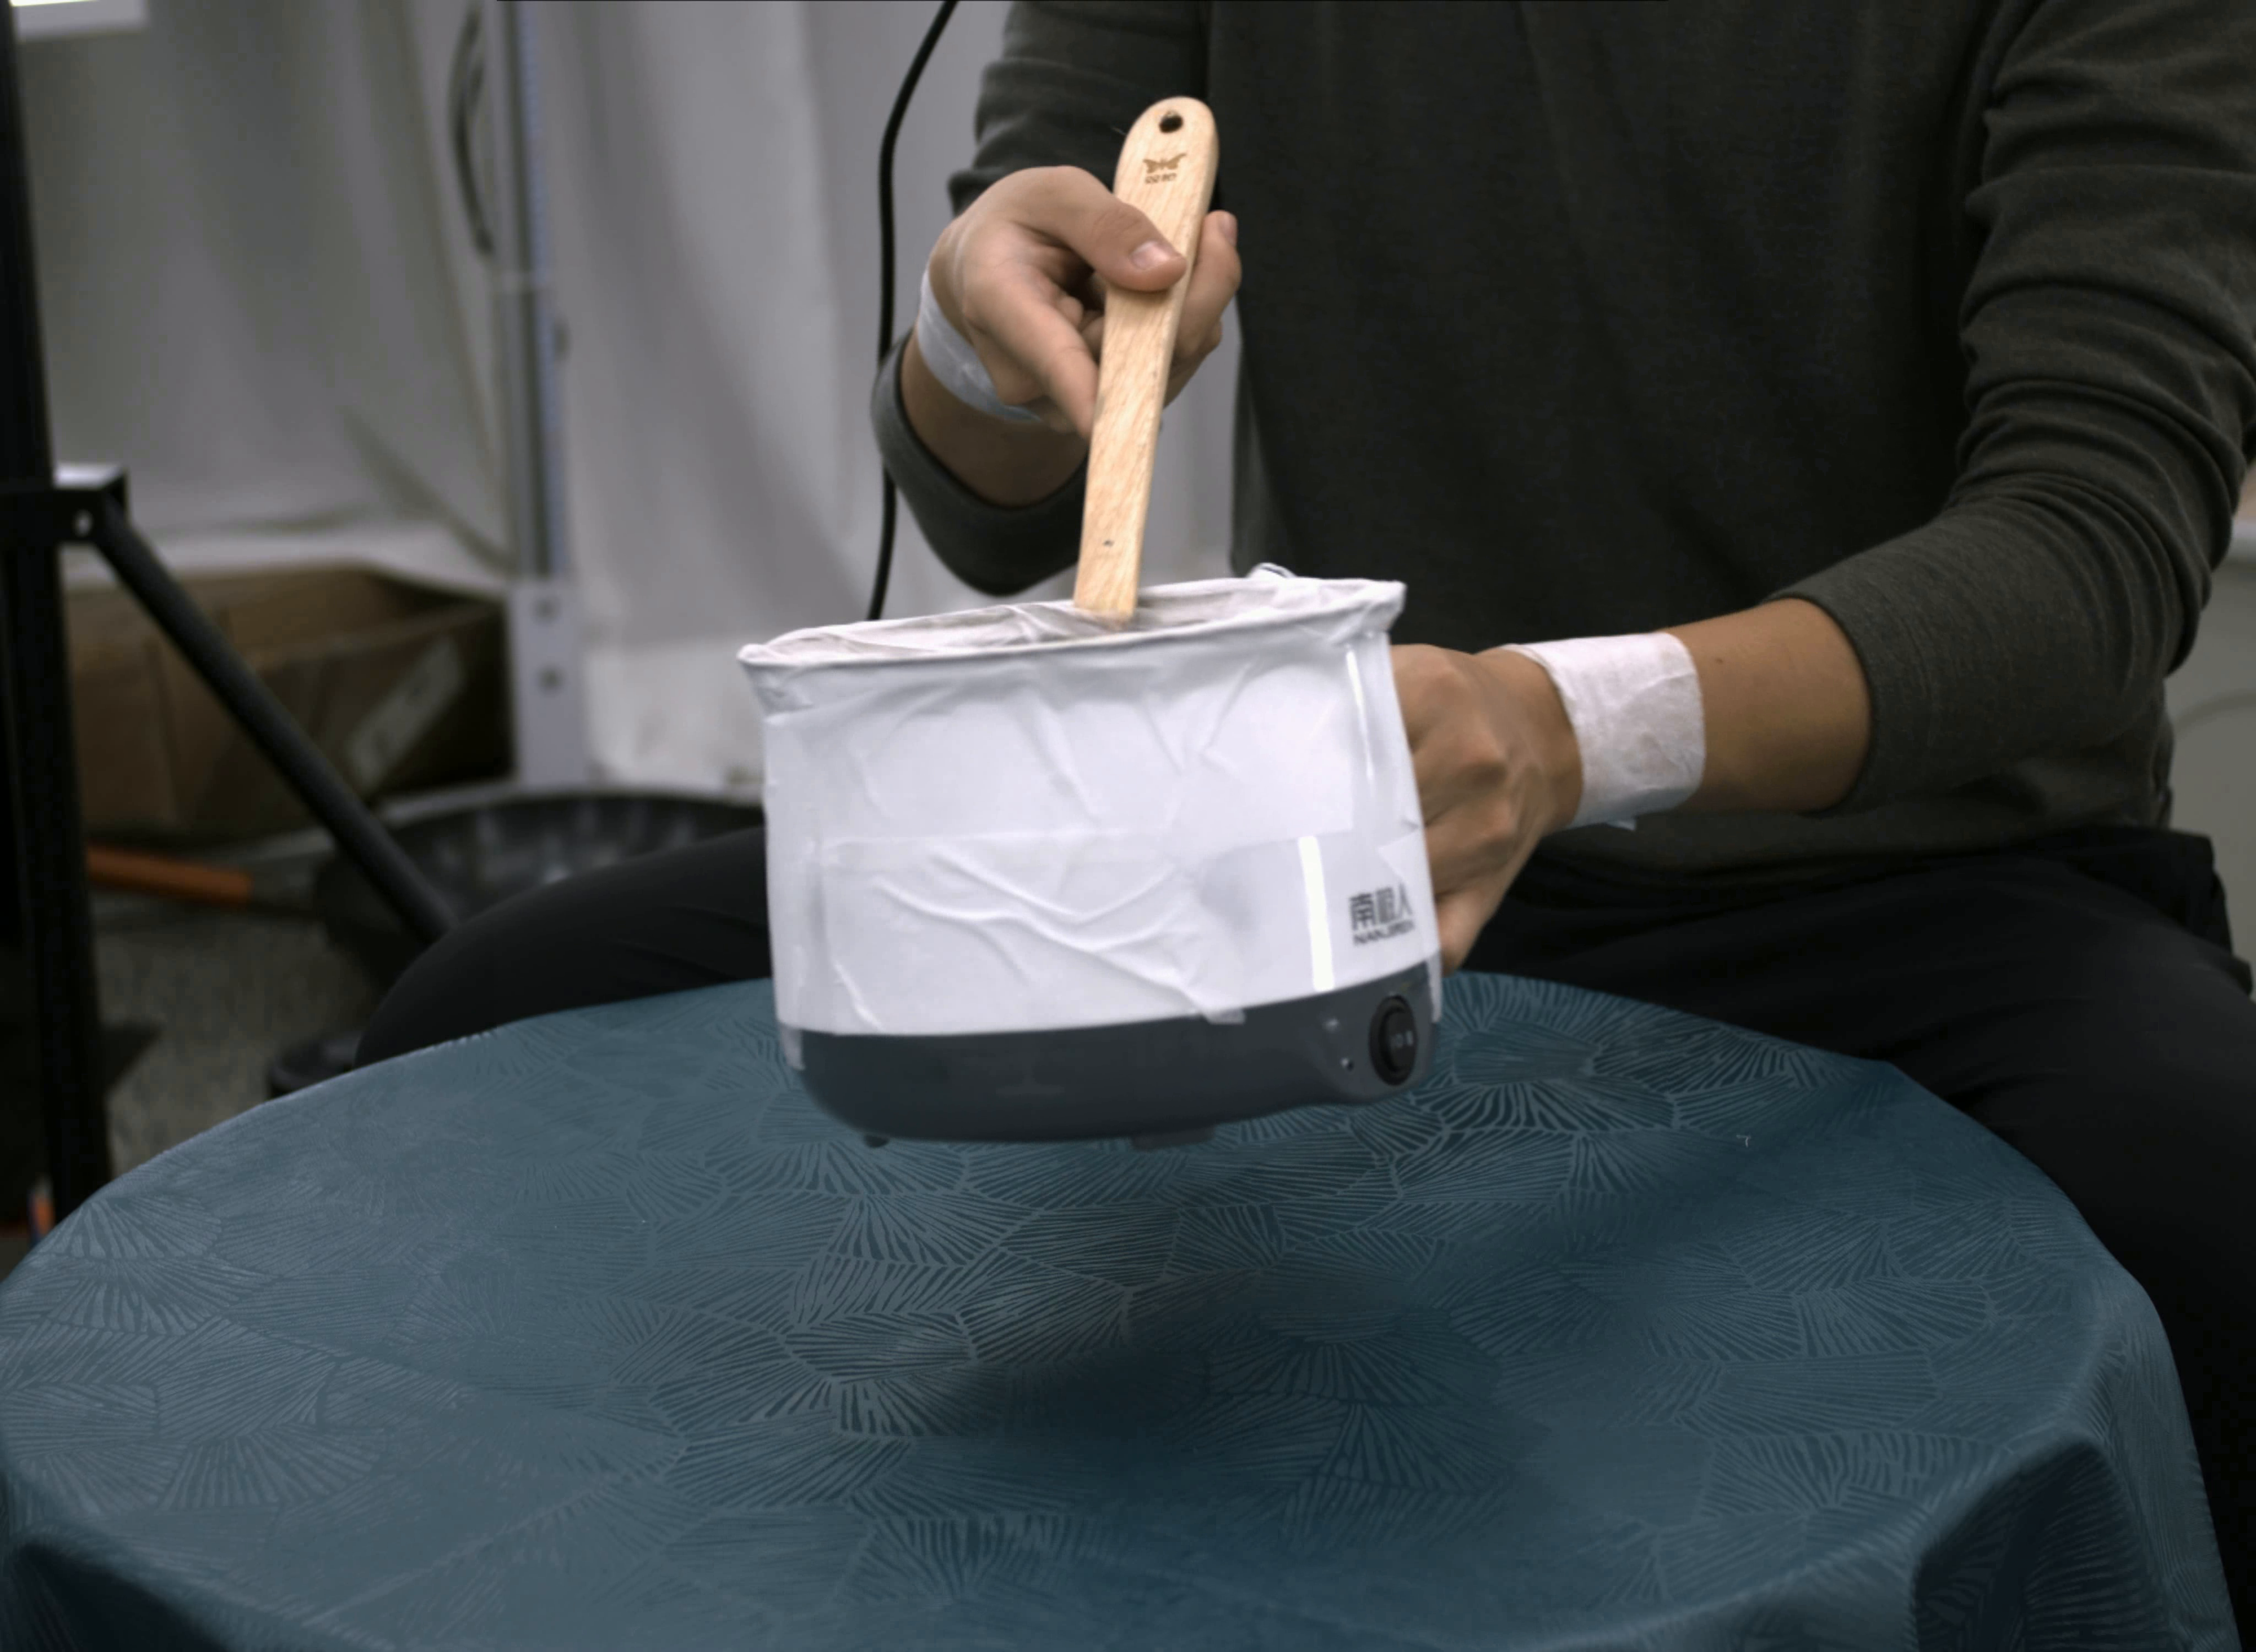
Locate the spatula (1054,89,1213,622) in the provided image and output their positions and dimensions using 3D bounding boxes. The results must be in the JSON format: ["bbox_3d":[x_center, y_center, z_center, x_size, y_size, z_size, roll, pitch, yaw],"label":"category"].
[{"bbox_3d":[-0.009,-0.097,1.505,0.096,0.018,0.393,-6,41,12],"label":"spatula"}]

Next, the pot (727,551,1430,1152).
[{"bbox_3d":[0.003,0.003,1.420,0.182,0.137,0.229,-1,8,33],"label":"pot"}]
